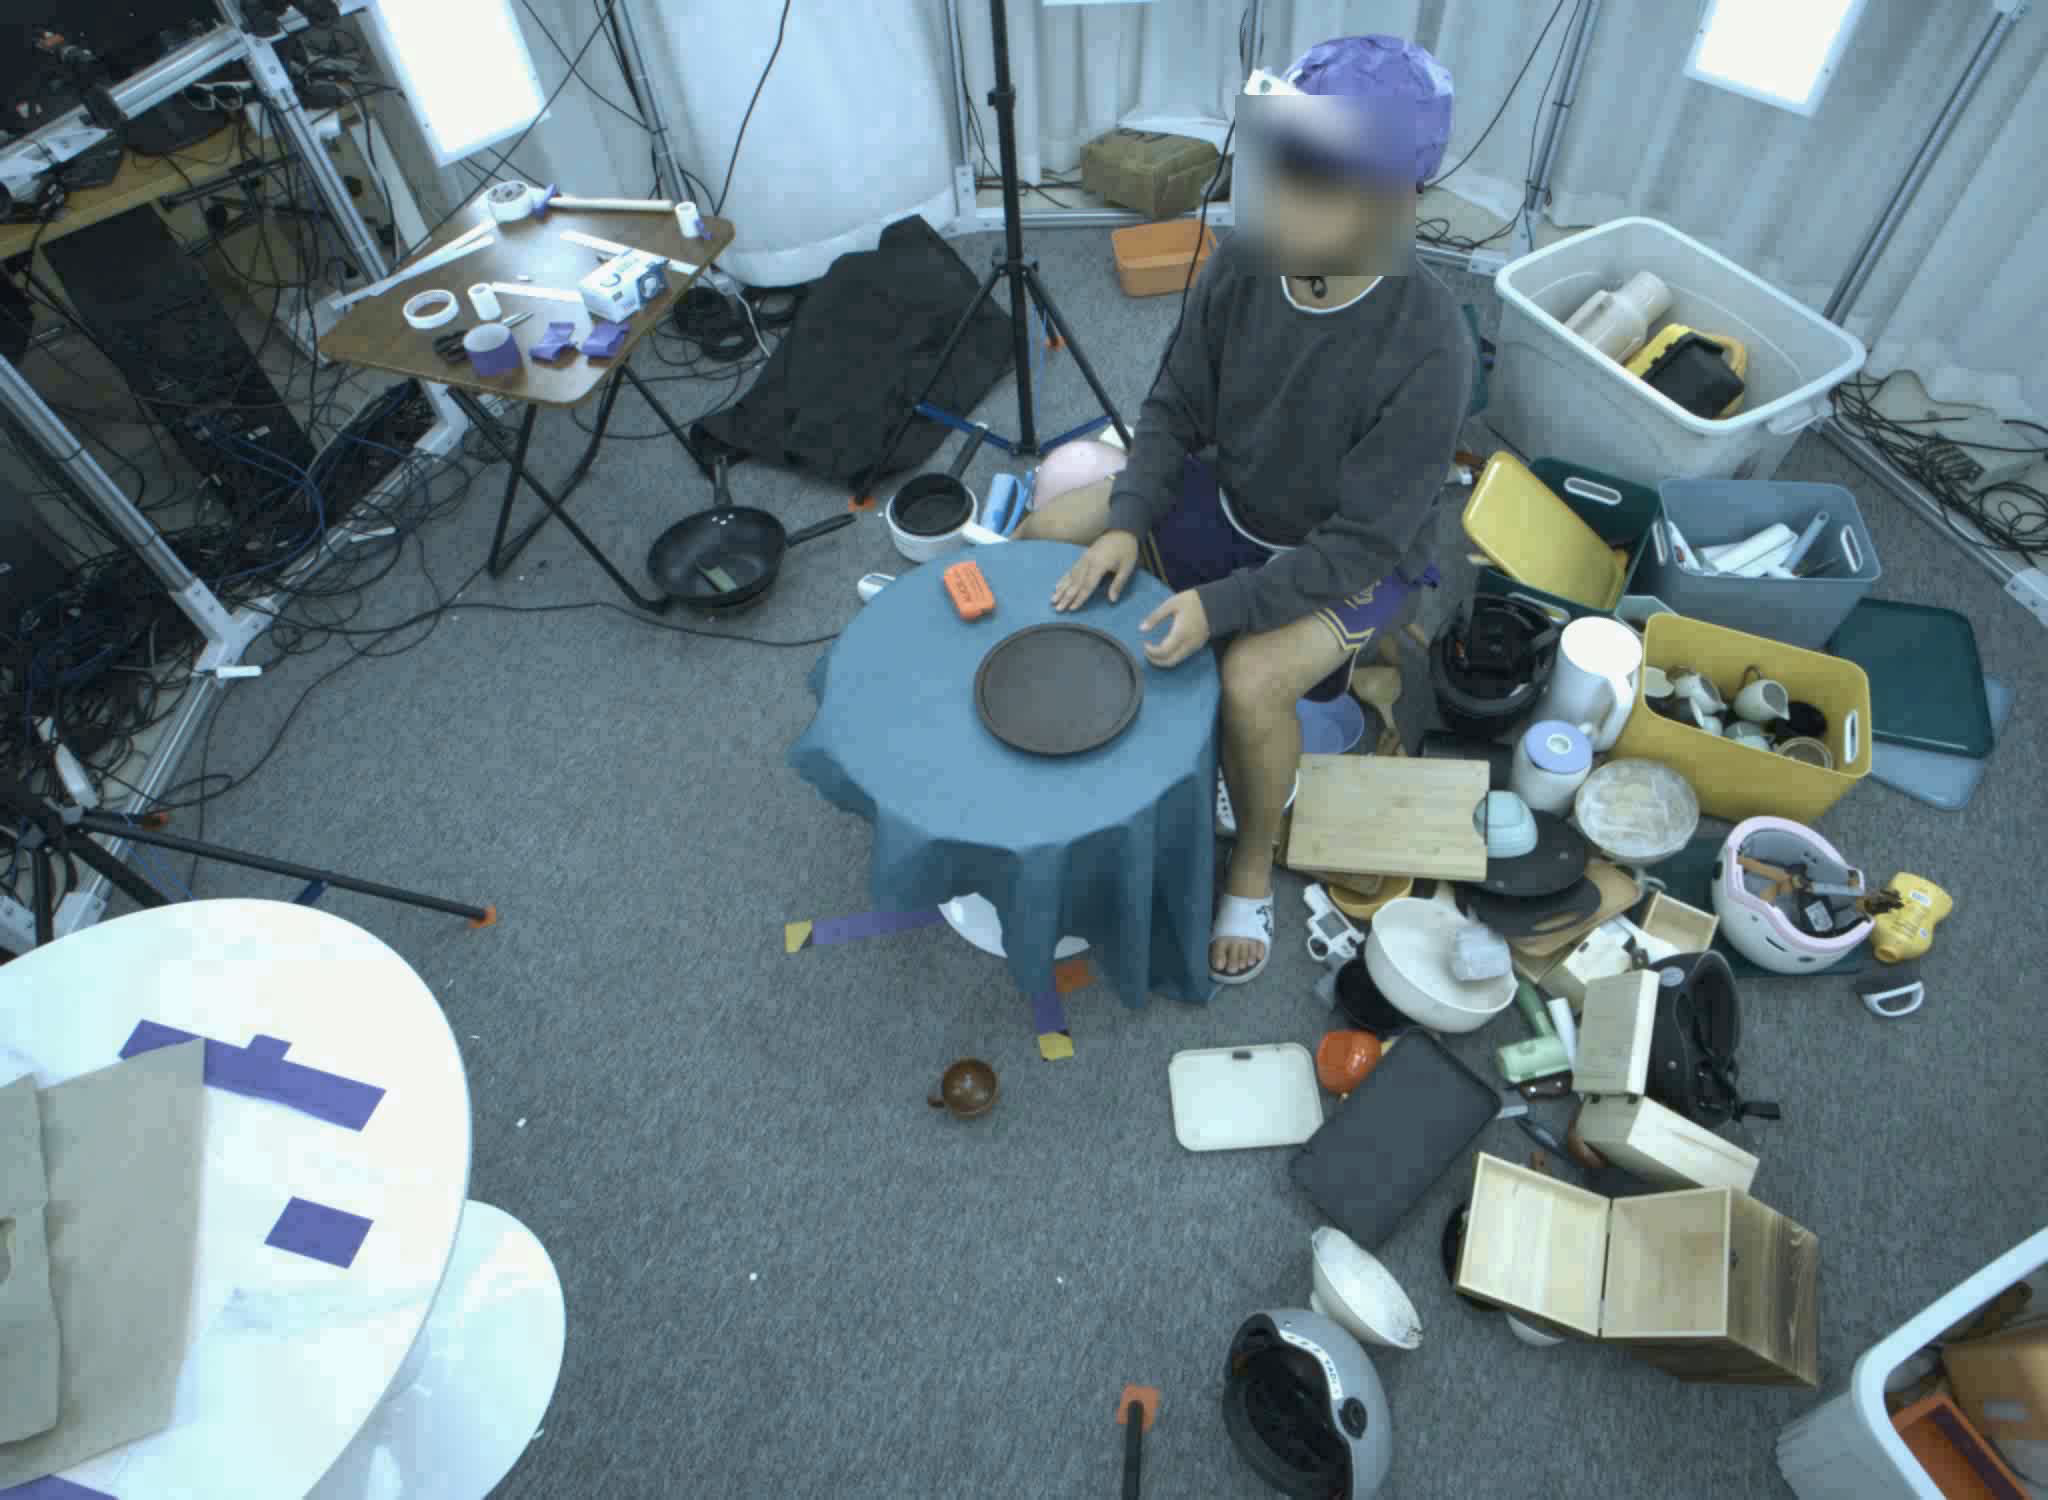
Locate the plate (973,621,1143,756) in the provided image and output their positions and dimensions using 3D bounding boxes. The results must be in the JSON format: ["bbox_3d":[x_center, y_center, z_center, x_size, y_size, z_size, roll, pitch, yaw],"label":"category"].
[{"bbox_3d":[0.051,-0.093,1.841,0.254,0.029,0.252,-1,54,3],"label":"plate"}]

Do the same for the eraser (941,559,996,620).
[{"bbox_3d":[-0.090,-0.257,1.957,0.059,0.023,0.106,-20,55,-12],"label":"eraser"}]
